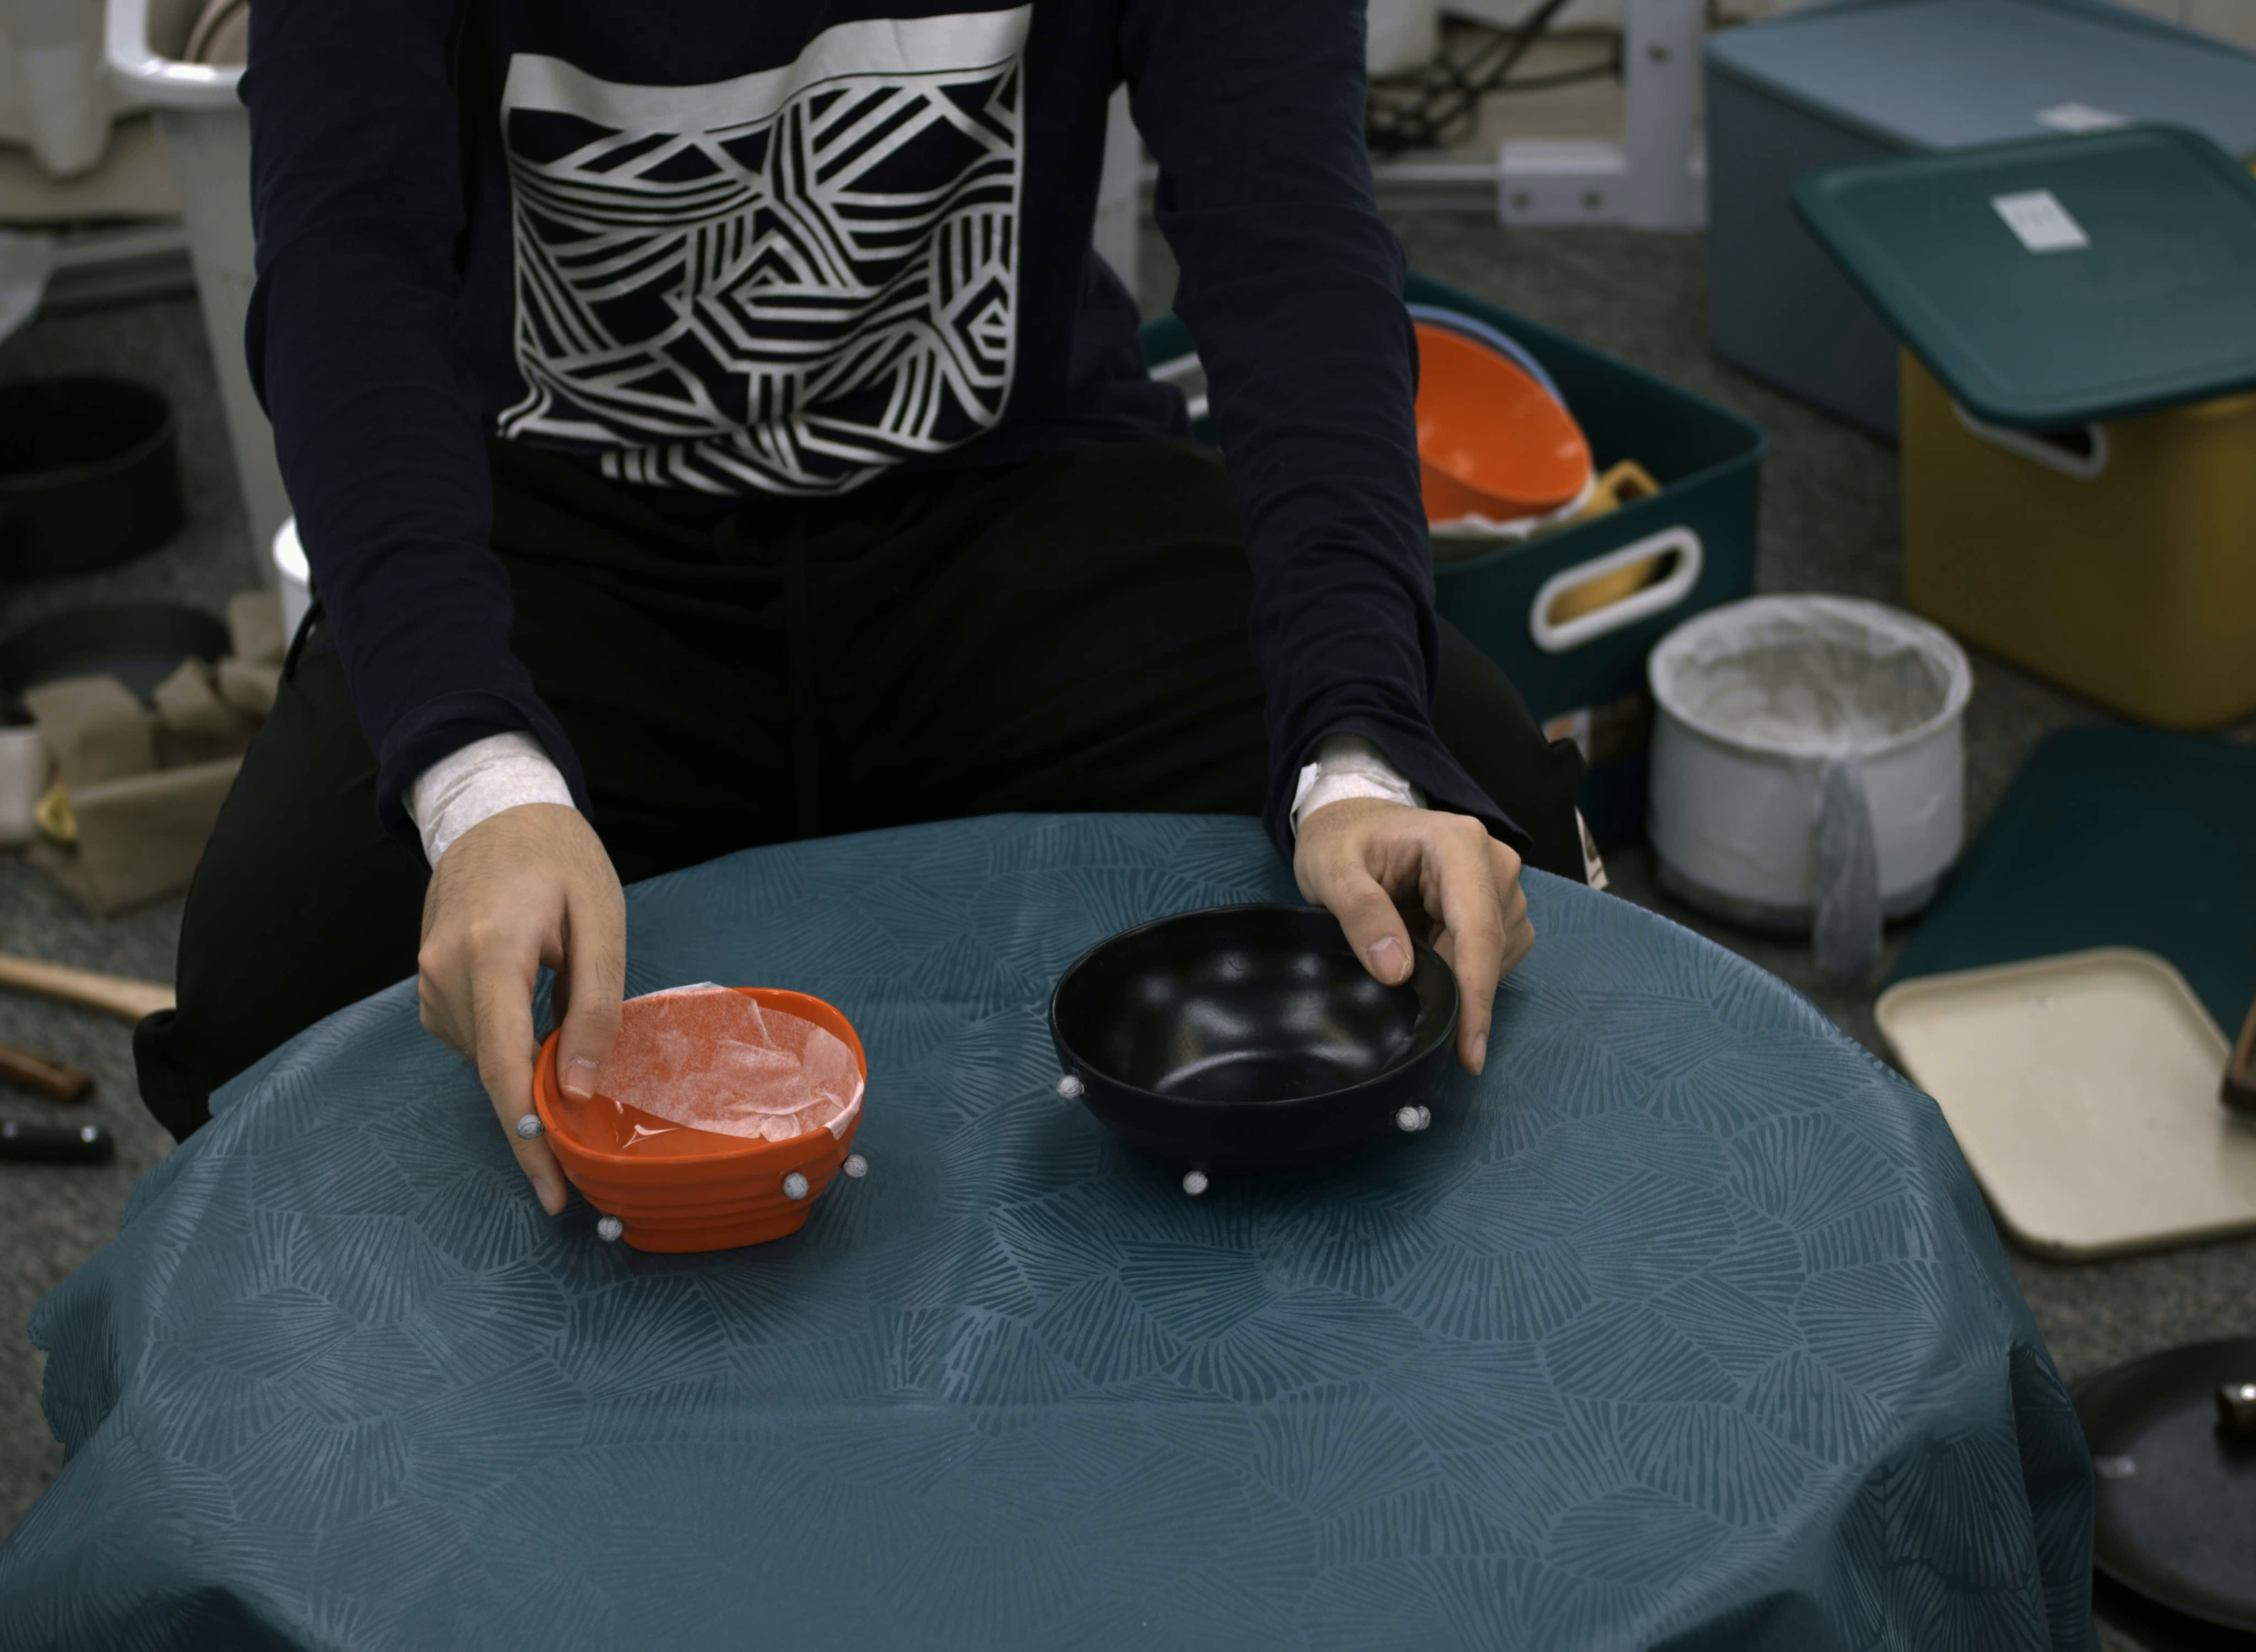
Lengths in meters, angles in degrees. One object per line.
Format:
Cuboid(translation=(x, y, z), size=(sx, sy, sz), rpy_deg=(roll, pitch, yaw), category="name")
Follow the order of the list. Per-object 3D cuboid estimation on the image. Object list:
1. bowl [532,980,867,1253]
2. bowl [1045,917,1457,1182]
Cuboid(translation=(-0.140, 0.101, 1.857), size=(0.118, 0.051, 0.121), rpy_deg=(-2, 29, 2), category="bowl")
Cuboid(translation=(0.042, 0.082, 1.886), size=(0.139, 0.049, 0.142), rpy_deg=(-3, 23, 2), category="bowl")
